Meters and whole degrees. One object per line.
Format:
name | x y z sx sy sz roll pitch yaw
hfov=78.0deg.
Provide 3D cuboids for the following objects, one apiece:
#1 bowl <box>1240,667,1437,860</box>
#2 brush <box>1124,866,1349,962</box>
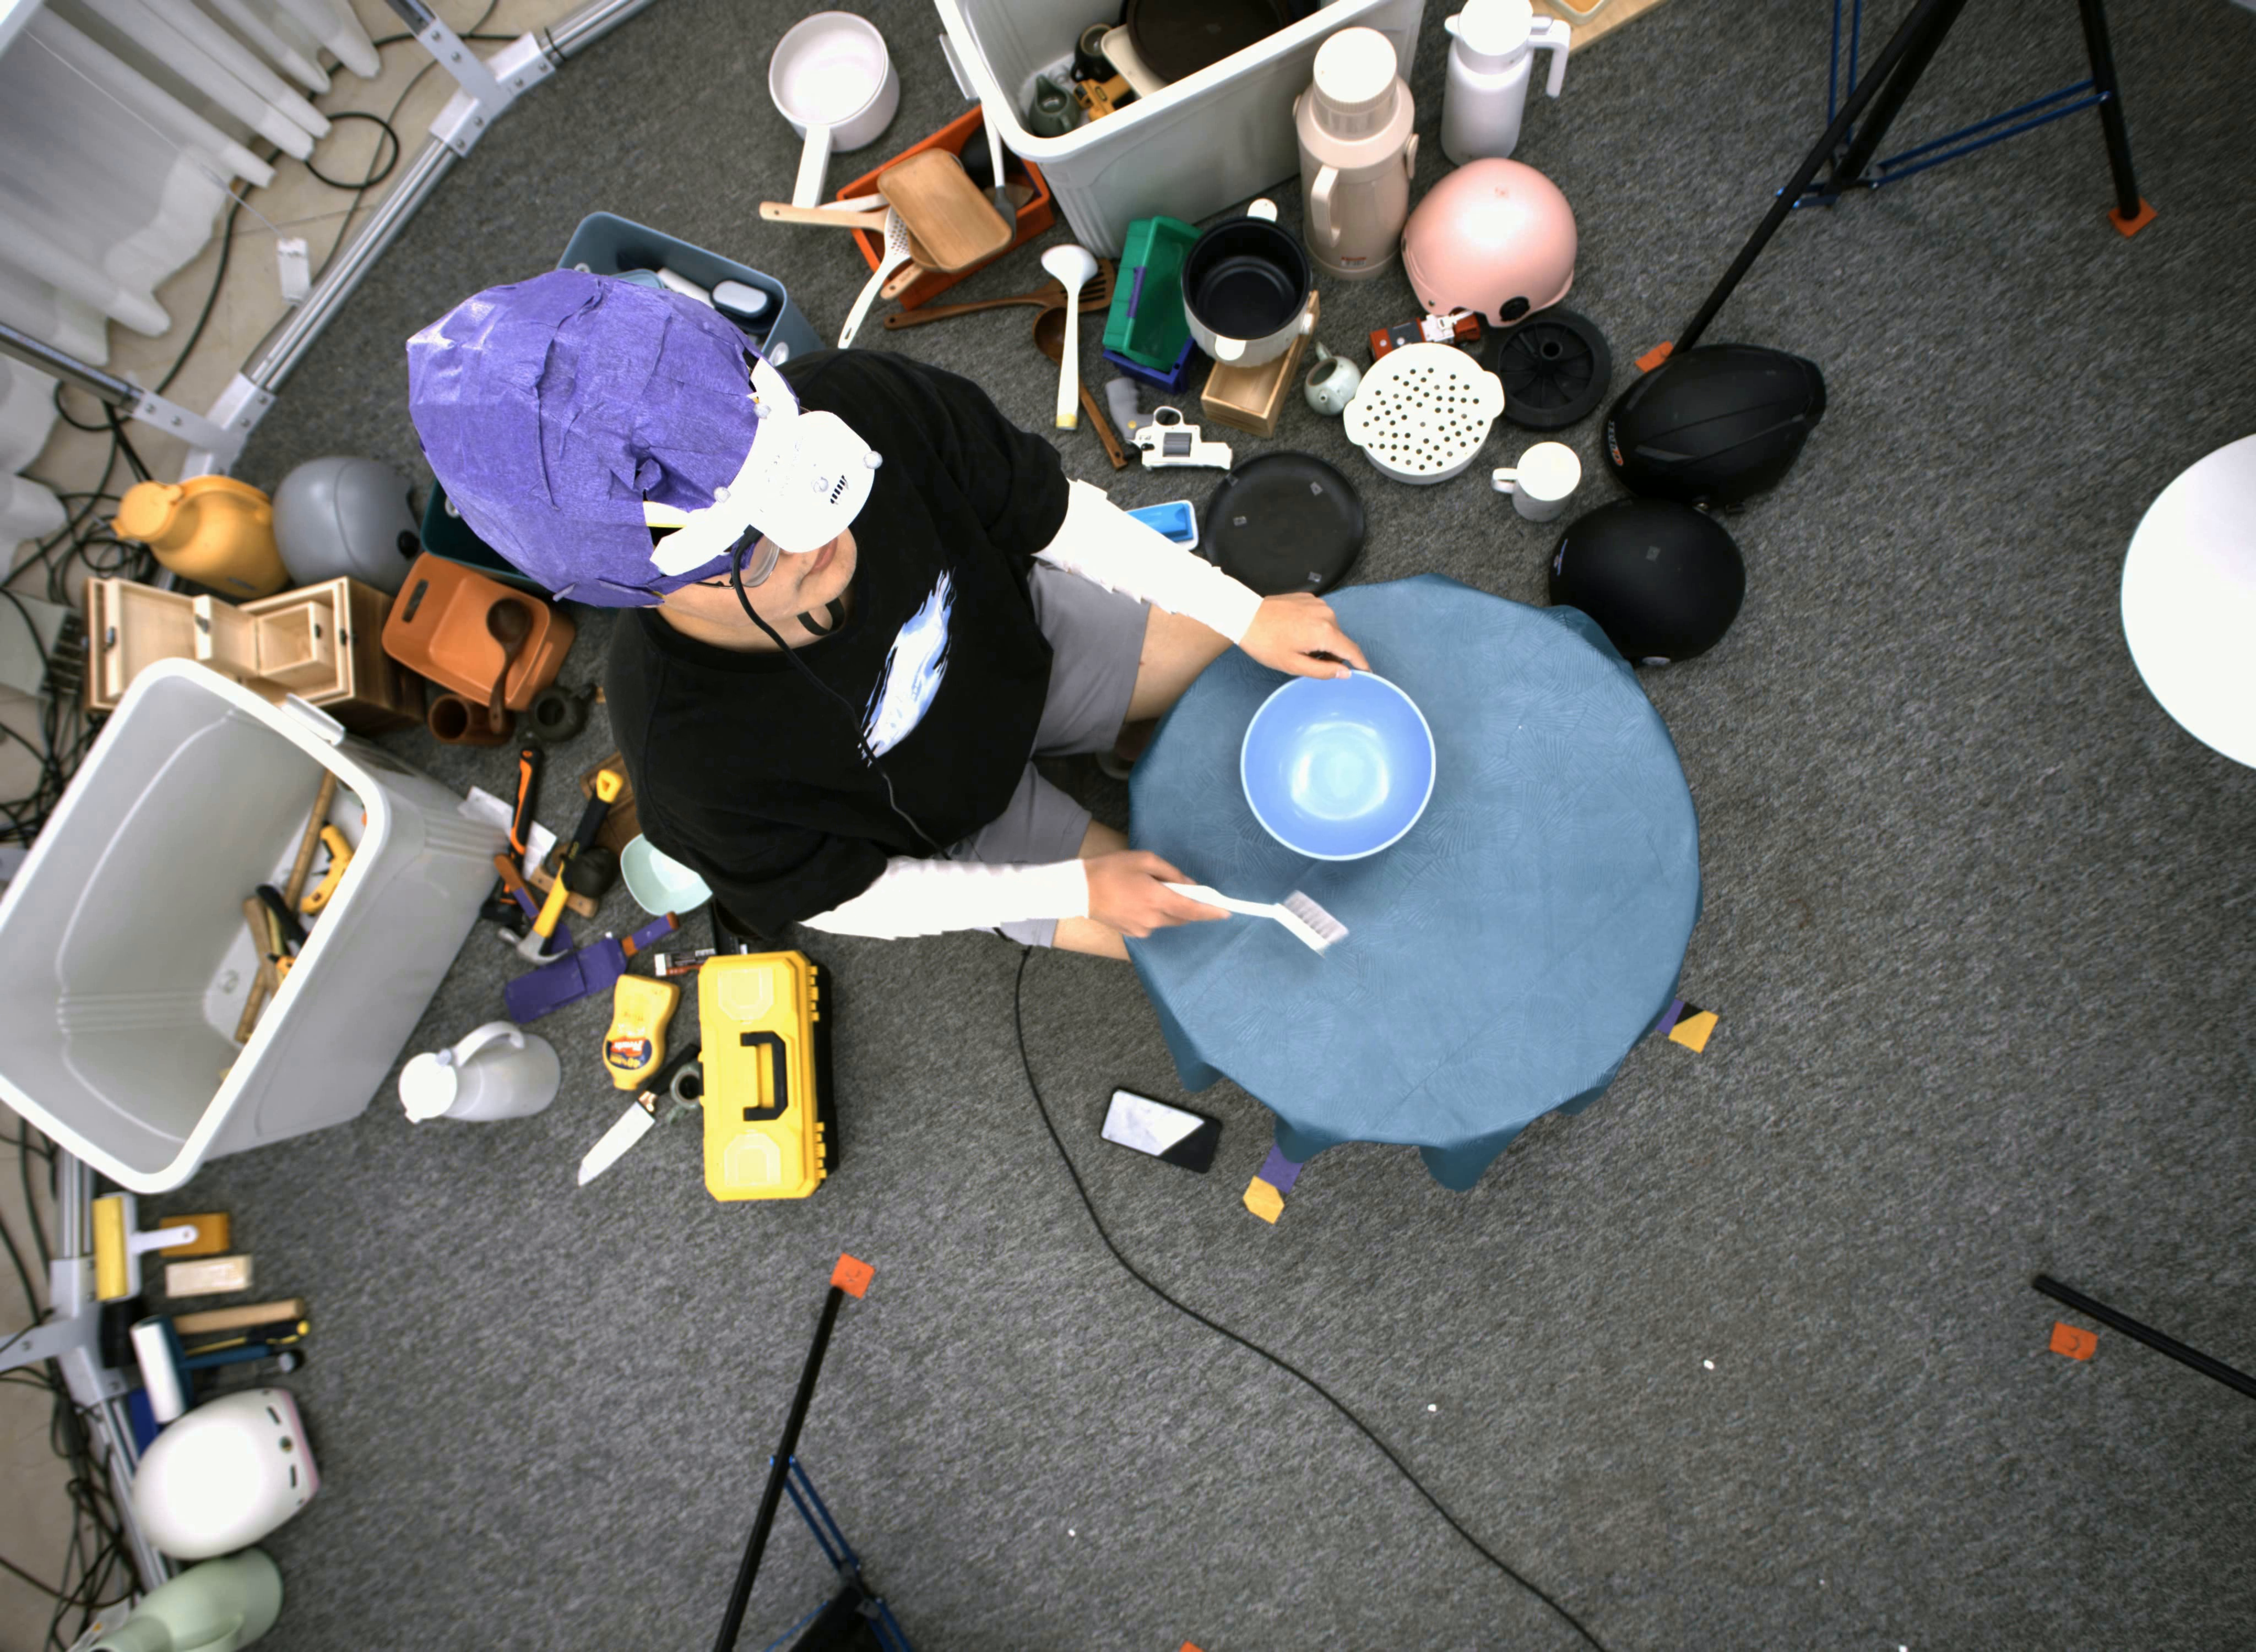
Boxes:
bowl | 0.218 -0.060 1.427 0.197 0.095 0.196 -1 87 10
brush | 0.111 0.072 1.419 0.243 0.035 0.050 22 80 19
